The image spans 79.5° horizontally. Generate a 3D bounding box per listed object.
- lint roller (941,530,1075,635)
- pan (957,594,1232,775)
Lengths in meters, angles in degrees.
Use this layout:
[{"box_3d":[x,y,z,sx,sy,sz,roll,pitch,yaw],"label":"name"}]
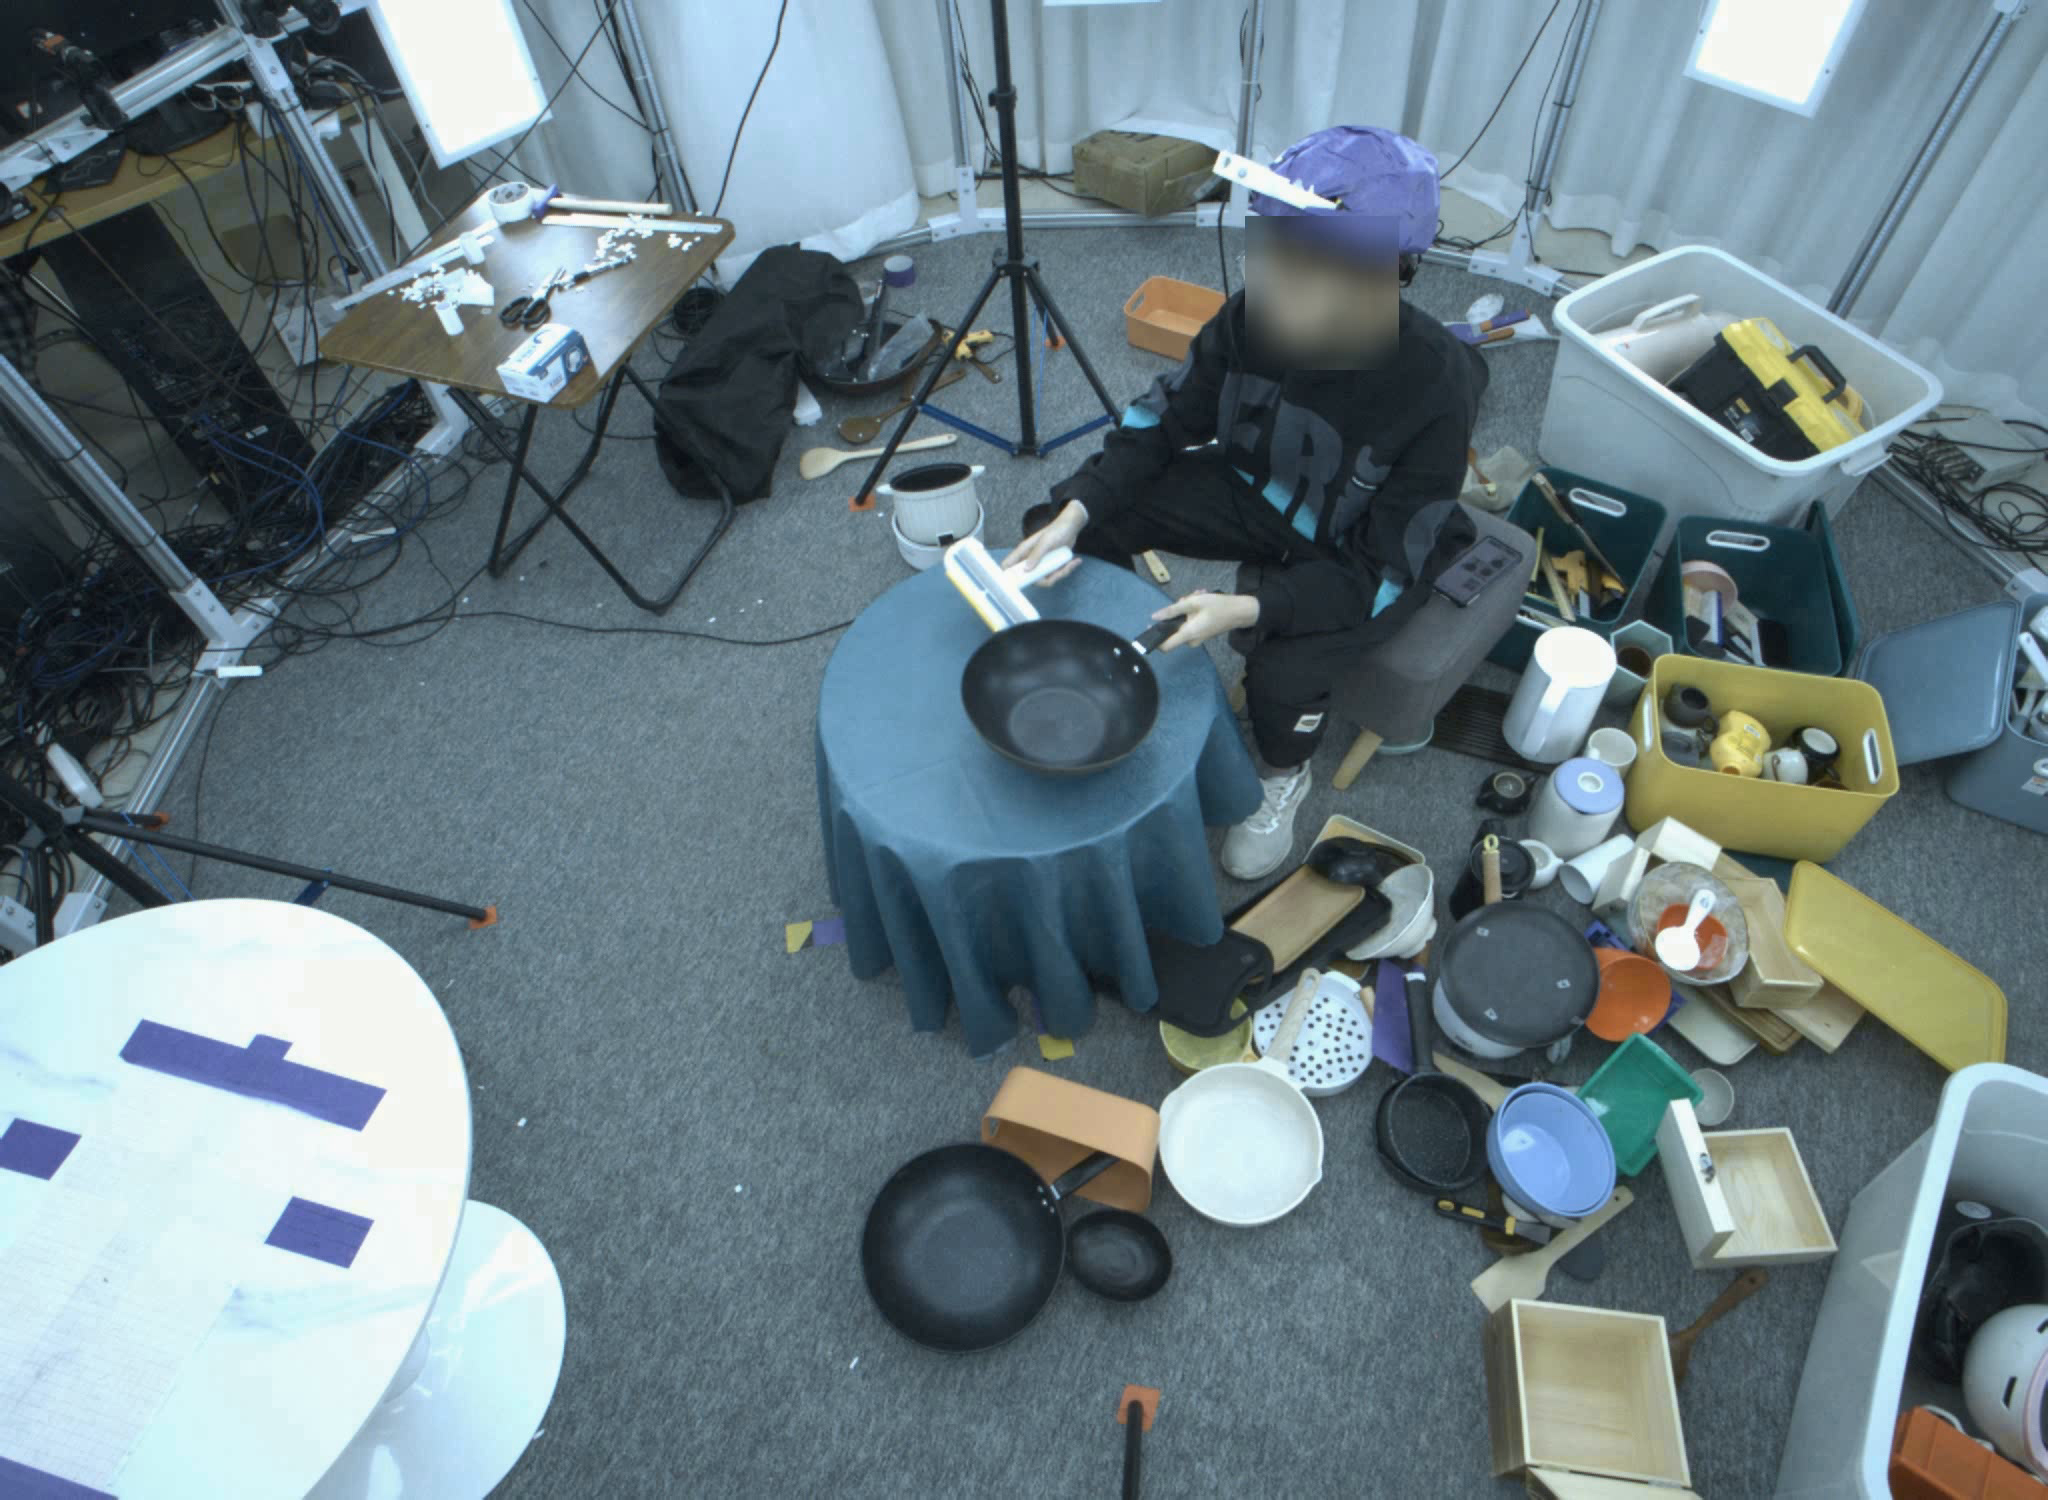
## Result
[{"box_3d":[-0.005,-0.273,1.876,0.193,0.074,0.191,-32,74,-15],"label":"lint roller"},{"box_3d":[0.117,-0.107,1.774,0.468,0.087,0.283,-31,61,-26],"label":"pan"}]
